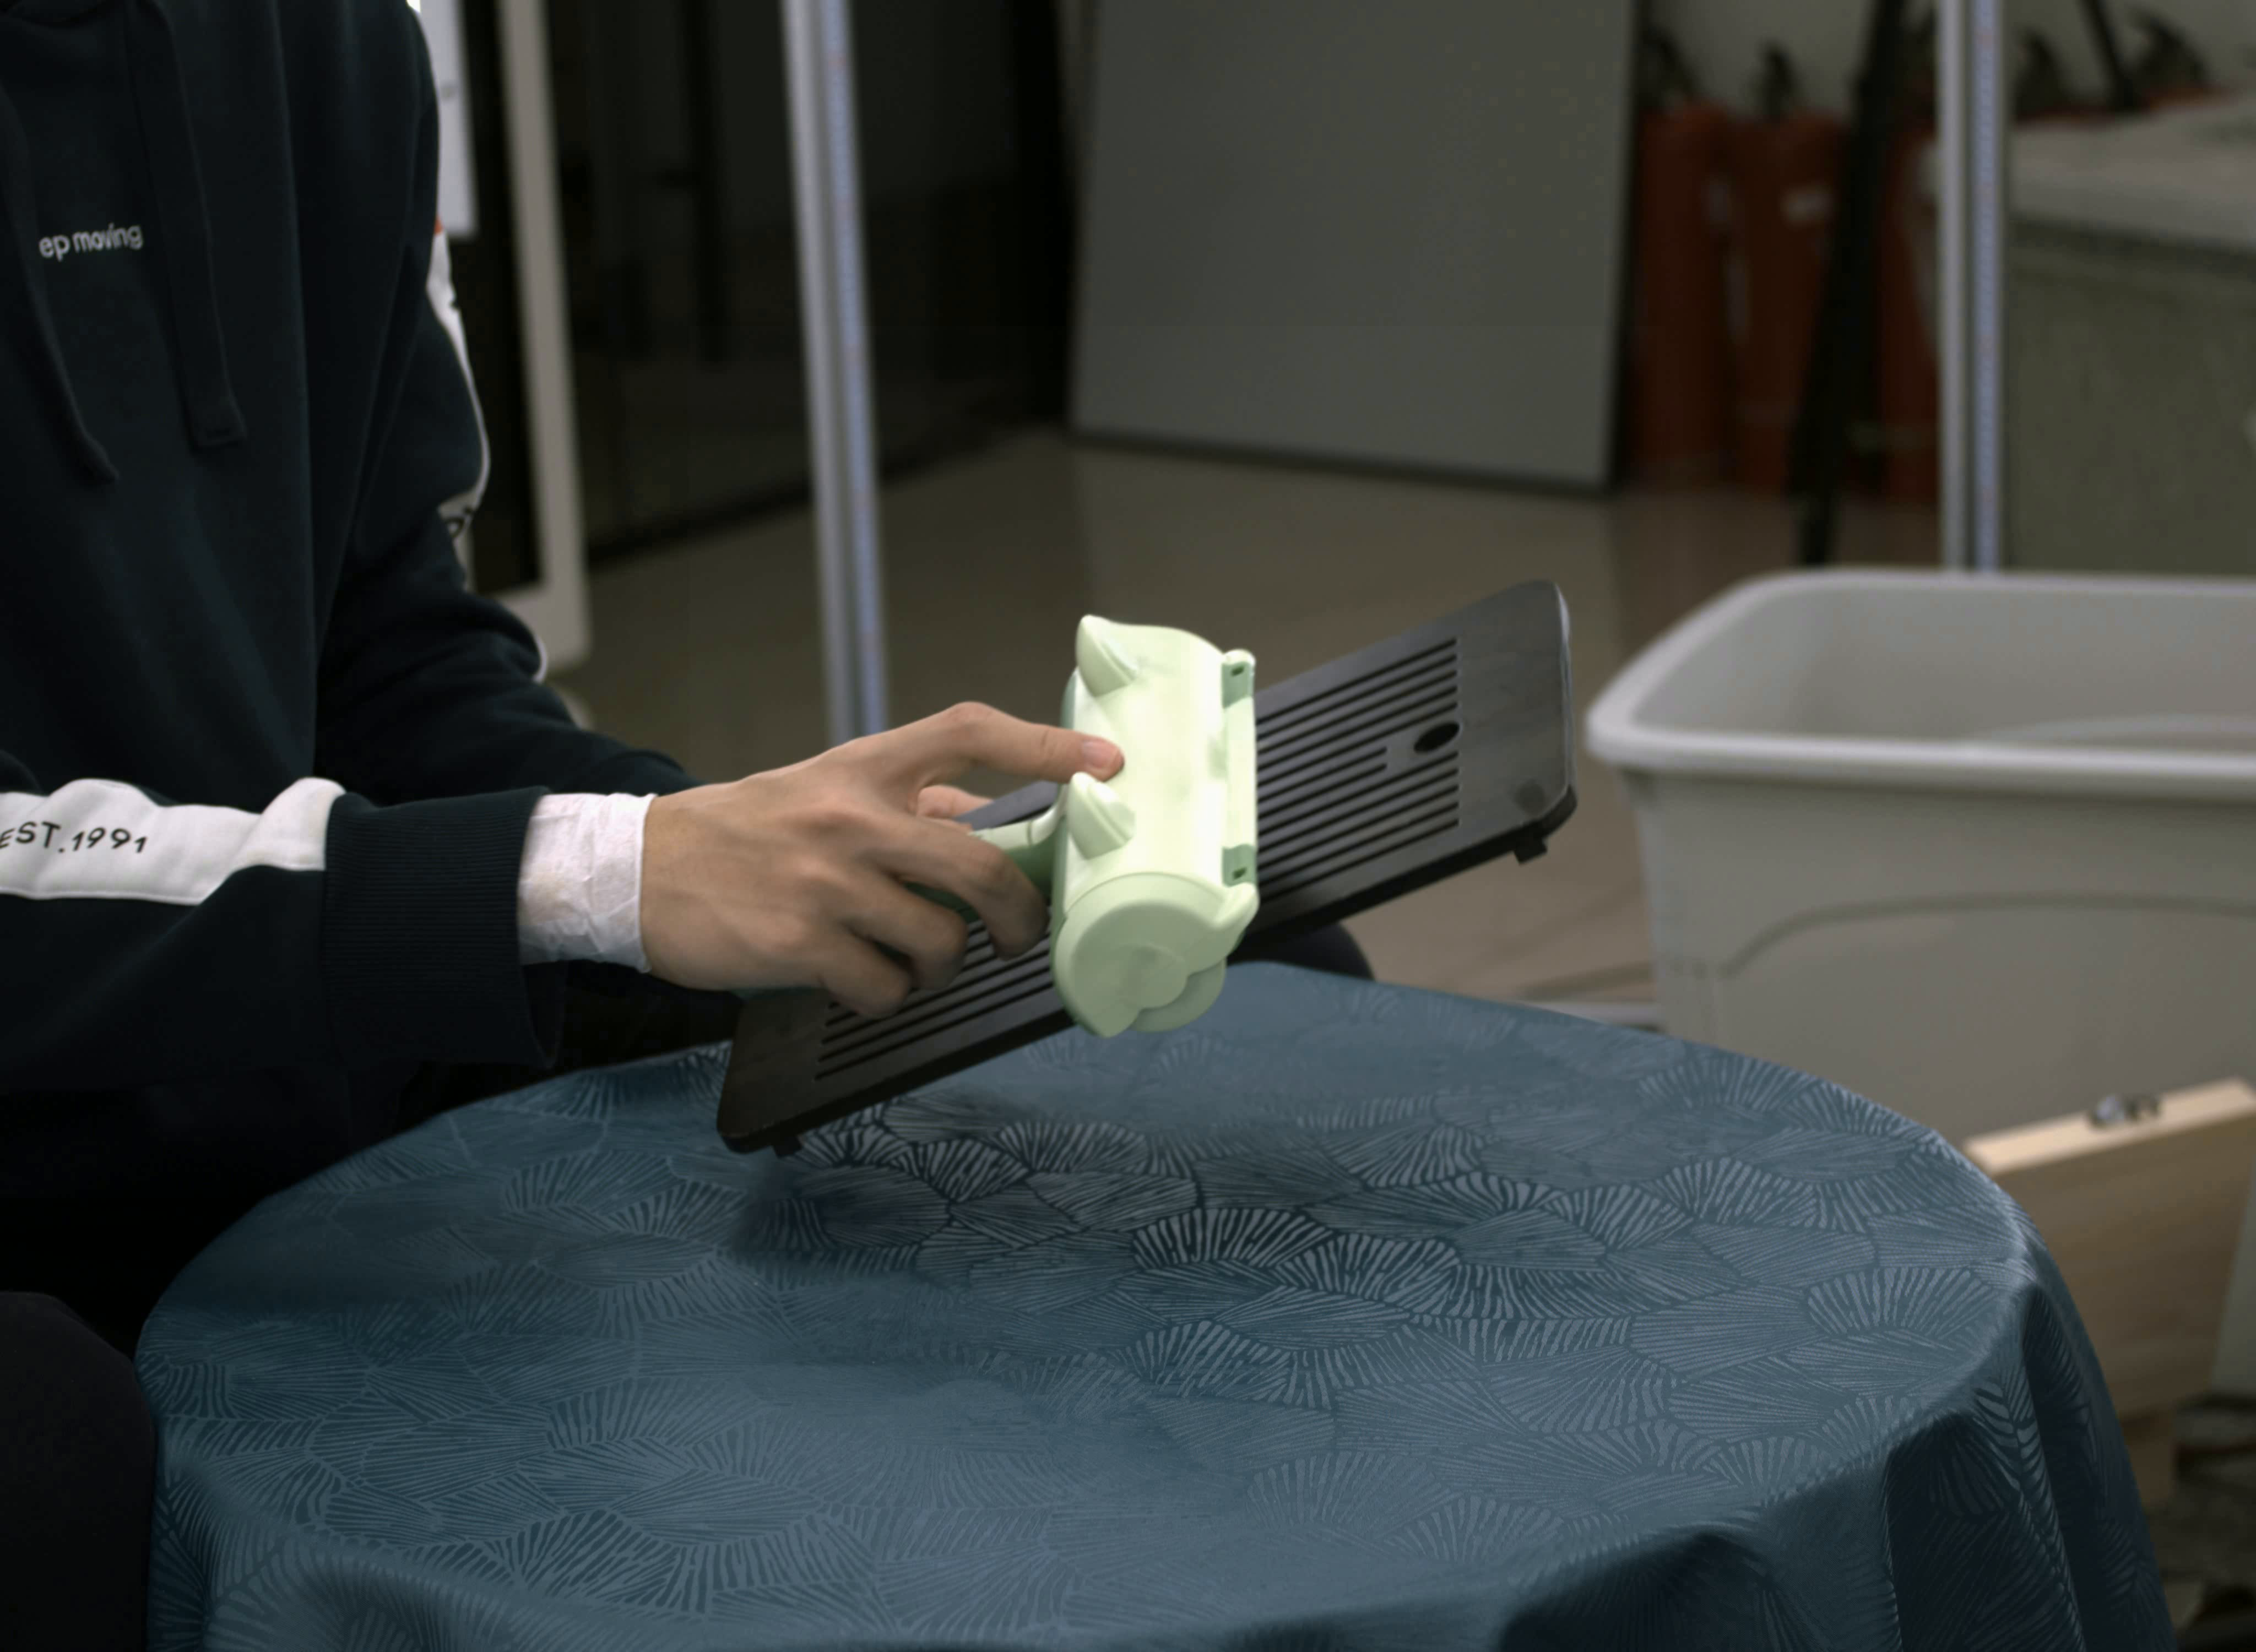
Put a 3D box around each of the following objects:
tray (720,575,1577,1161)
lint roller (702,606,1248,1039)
[{"bbox_3d":[0.008,0.015,1.777,0.305,0.018,0.170,-23,24,16],"label":"tray"},{"bbox_3d":[-0.051,0.001,1.681,0.182,0.082,0.199,-10,26,7],"label":"lint roller"}]
